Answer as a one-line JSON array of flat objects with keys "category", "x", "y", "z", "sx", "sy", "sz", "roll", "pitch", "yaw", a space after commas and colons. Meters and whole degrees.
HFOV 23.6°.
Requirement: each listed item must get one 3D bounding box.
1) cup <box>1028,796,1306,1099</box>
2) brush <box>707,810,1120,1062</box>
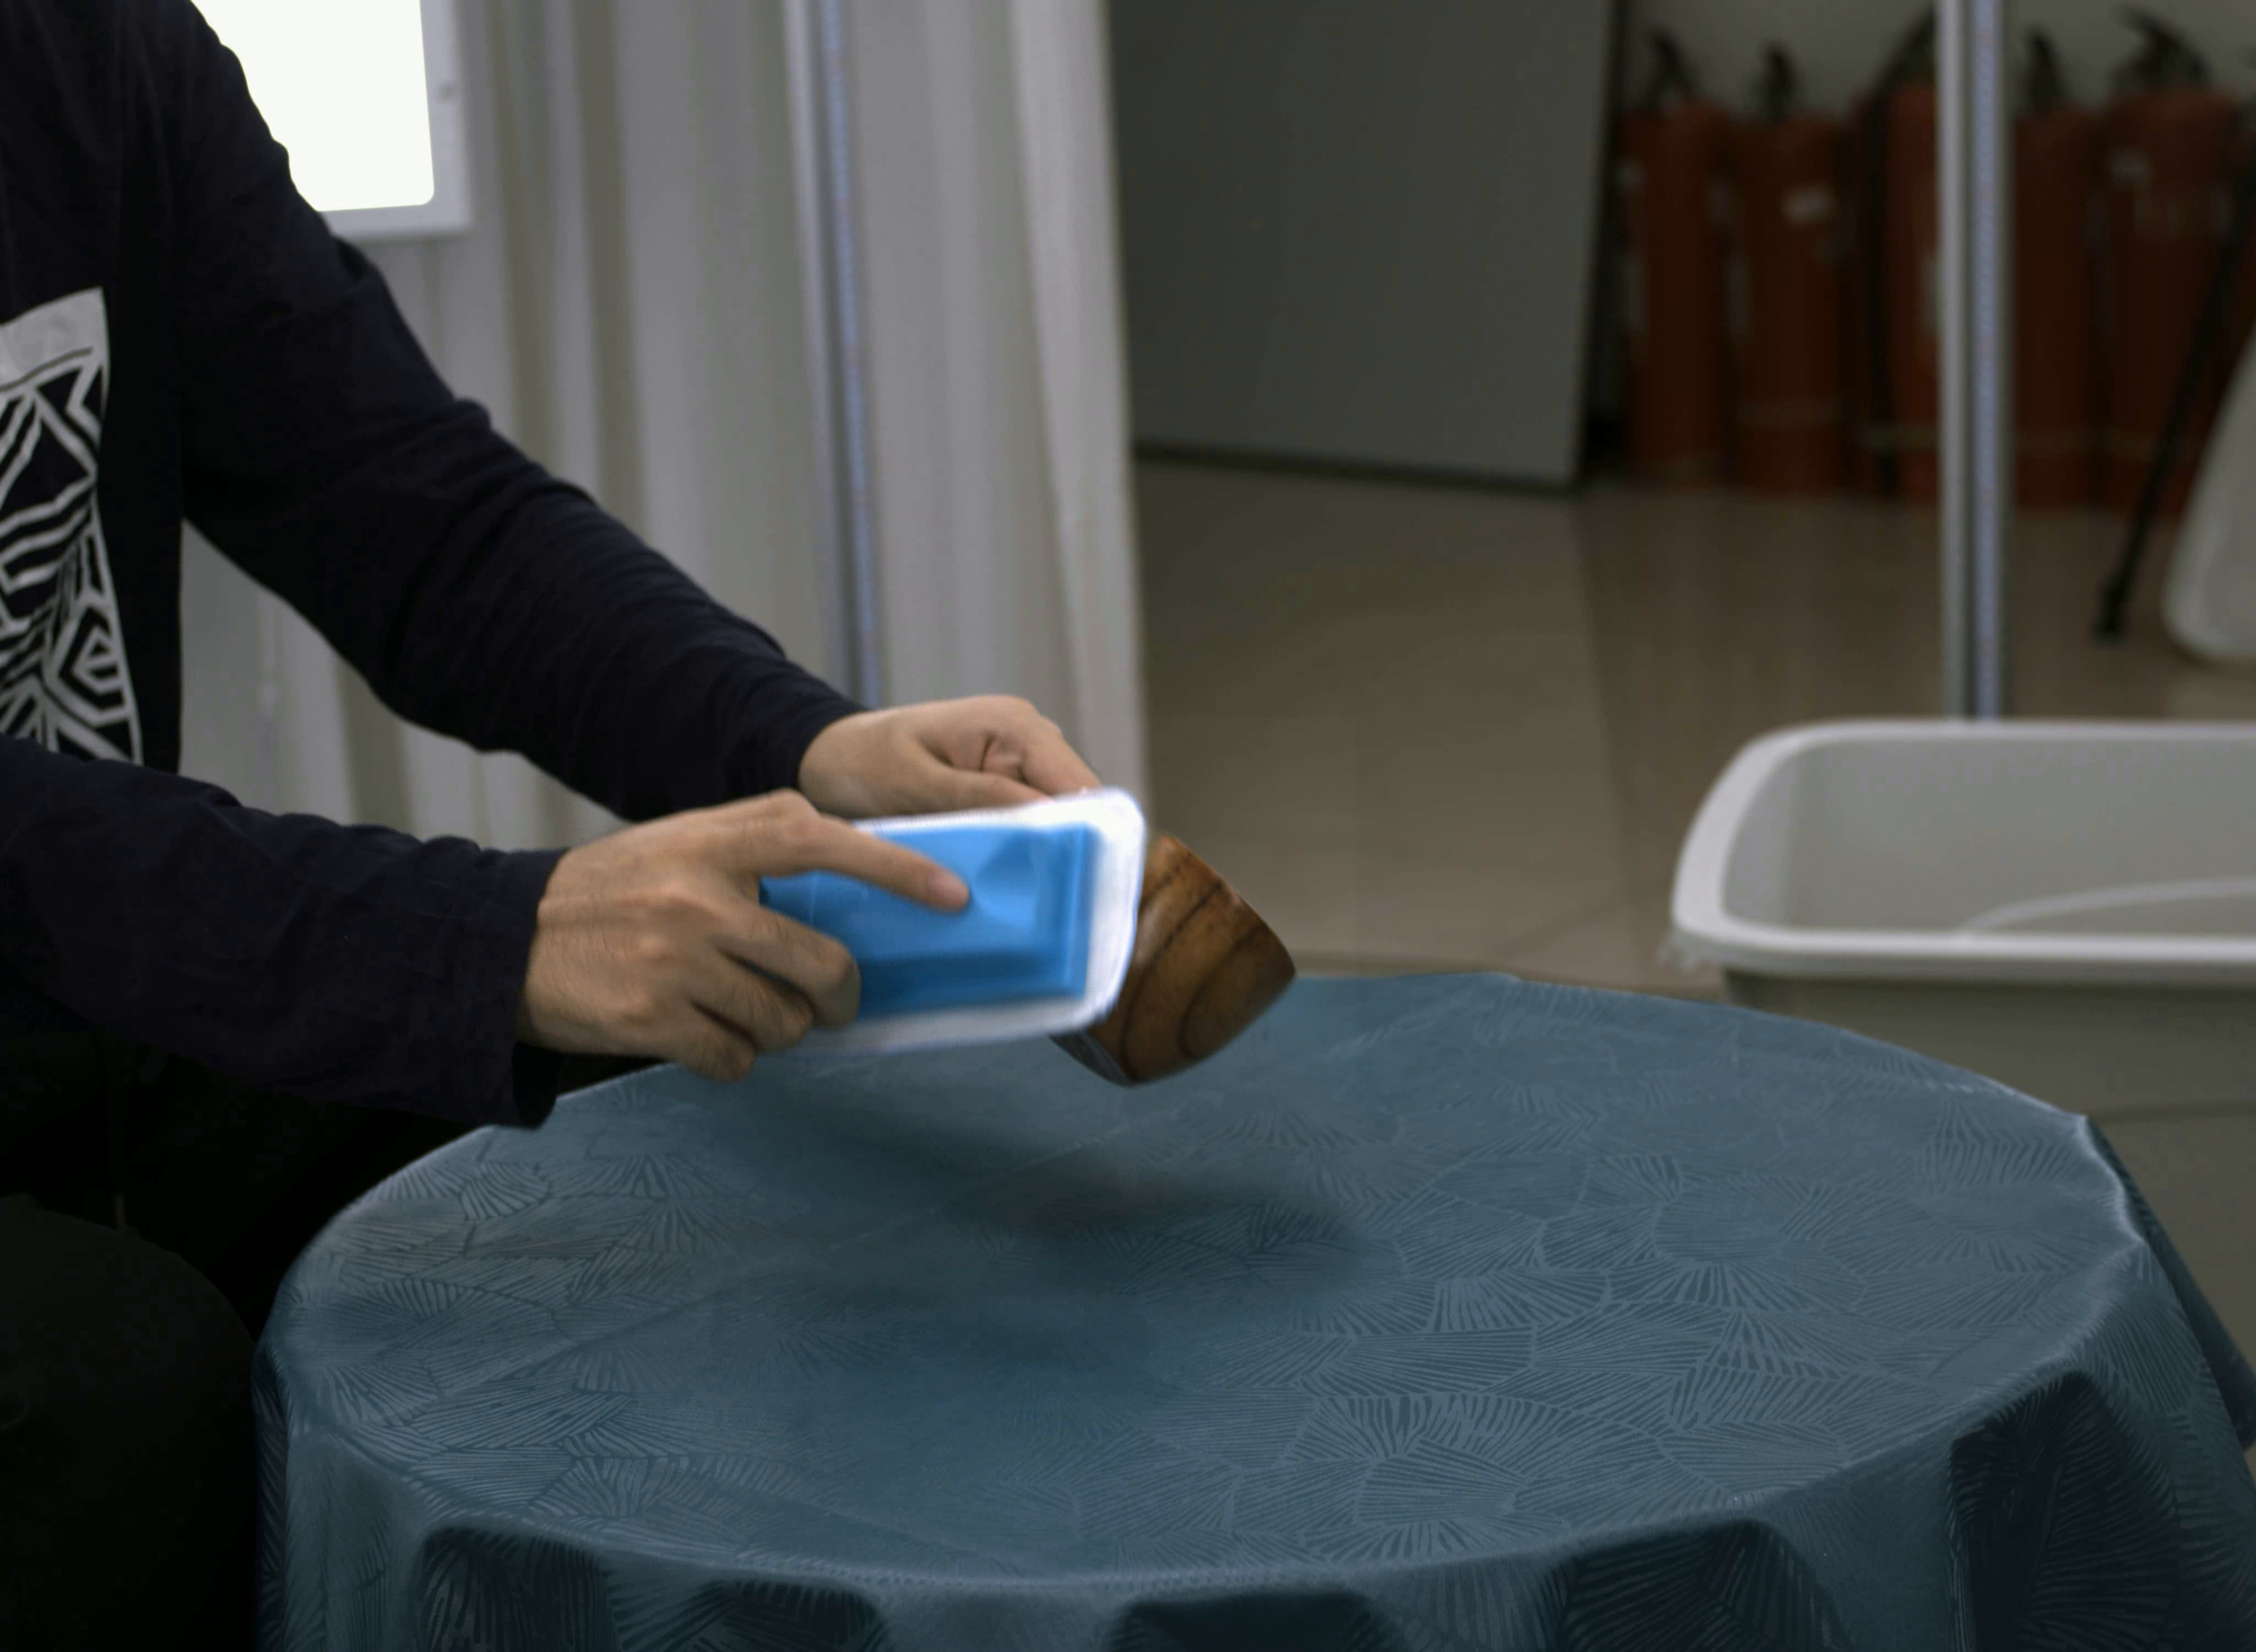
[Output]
[{"category": "cup", "x": -0.007, "y": 0.040, "z": 1.766, "sx": 0.120, "sy": 0.068, "sz": 0.095, "roll": 28, "pitch": -13, "yaw": 39}, {"category": "brush", "x": -0.074, "y": 0.028, "z": 1.694, "sx": 0.144, "sy": 0.084, "sz": 0.055, "roll": -2, "pitch": -27, "yaw": 32}]
